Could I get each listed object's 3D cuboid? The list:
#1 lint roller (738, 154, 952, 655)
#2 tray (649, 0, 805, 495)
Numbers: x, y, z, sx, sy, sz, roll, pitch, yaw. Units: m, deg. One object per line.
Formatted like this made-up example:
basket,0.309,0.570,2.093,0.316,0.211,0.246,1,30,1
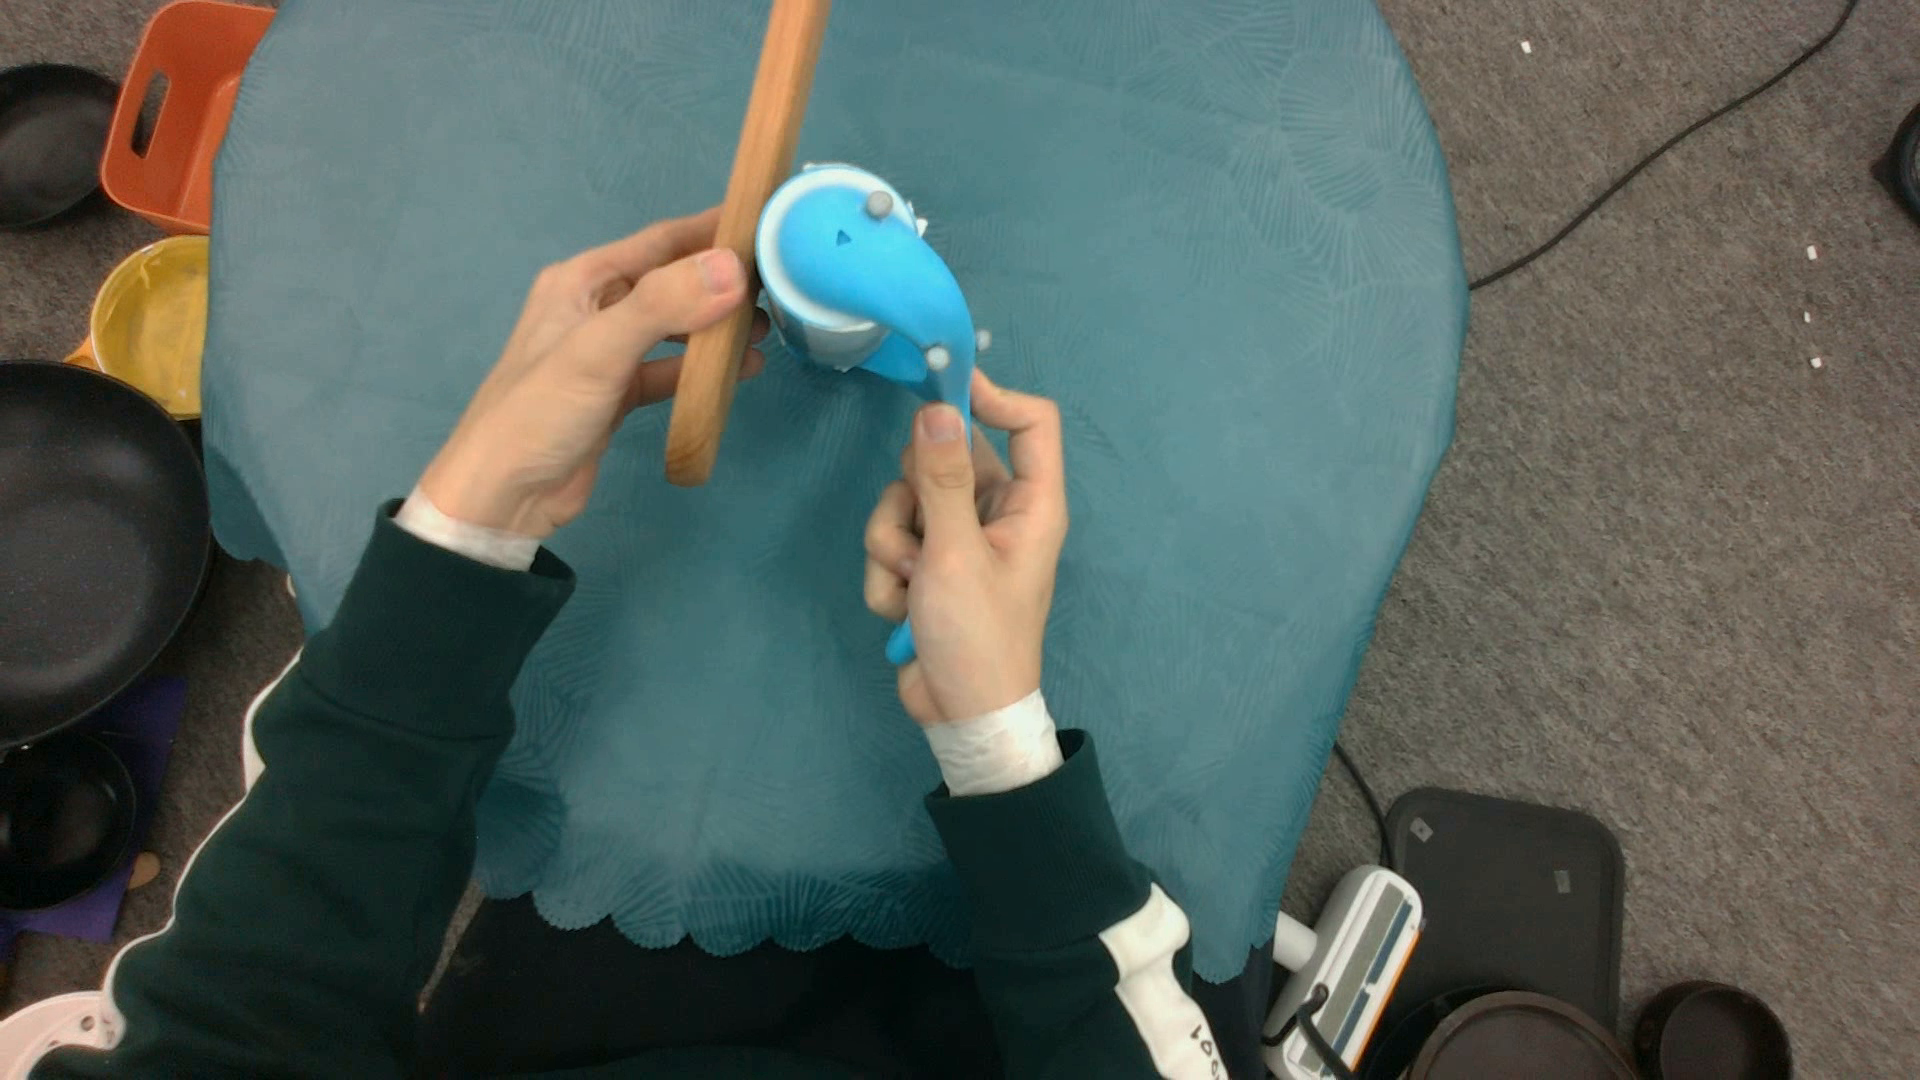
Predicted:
lint roller,-0.036,-0.049,0.546,0.068,0.229,0.180,-21,98,-7
tray,-0.083,-0.129,0.515,0.020,0.101,0.231,11,87,-8
